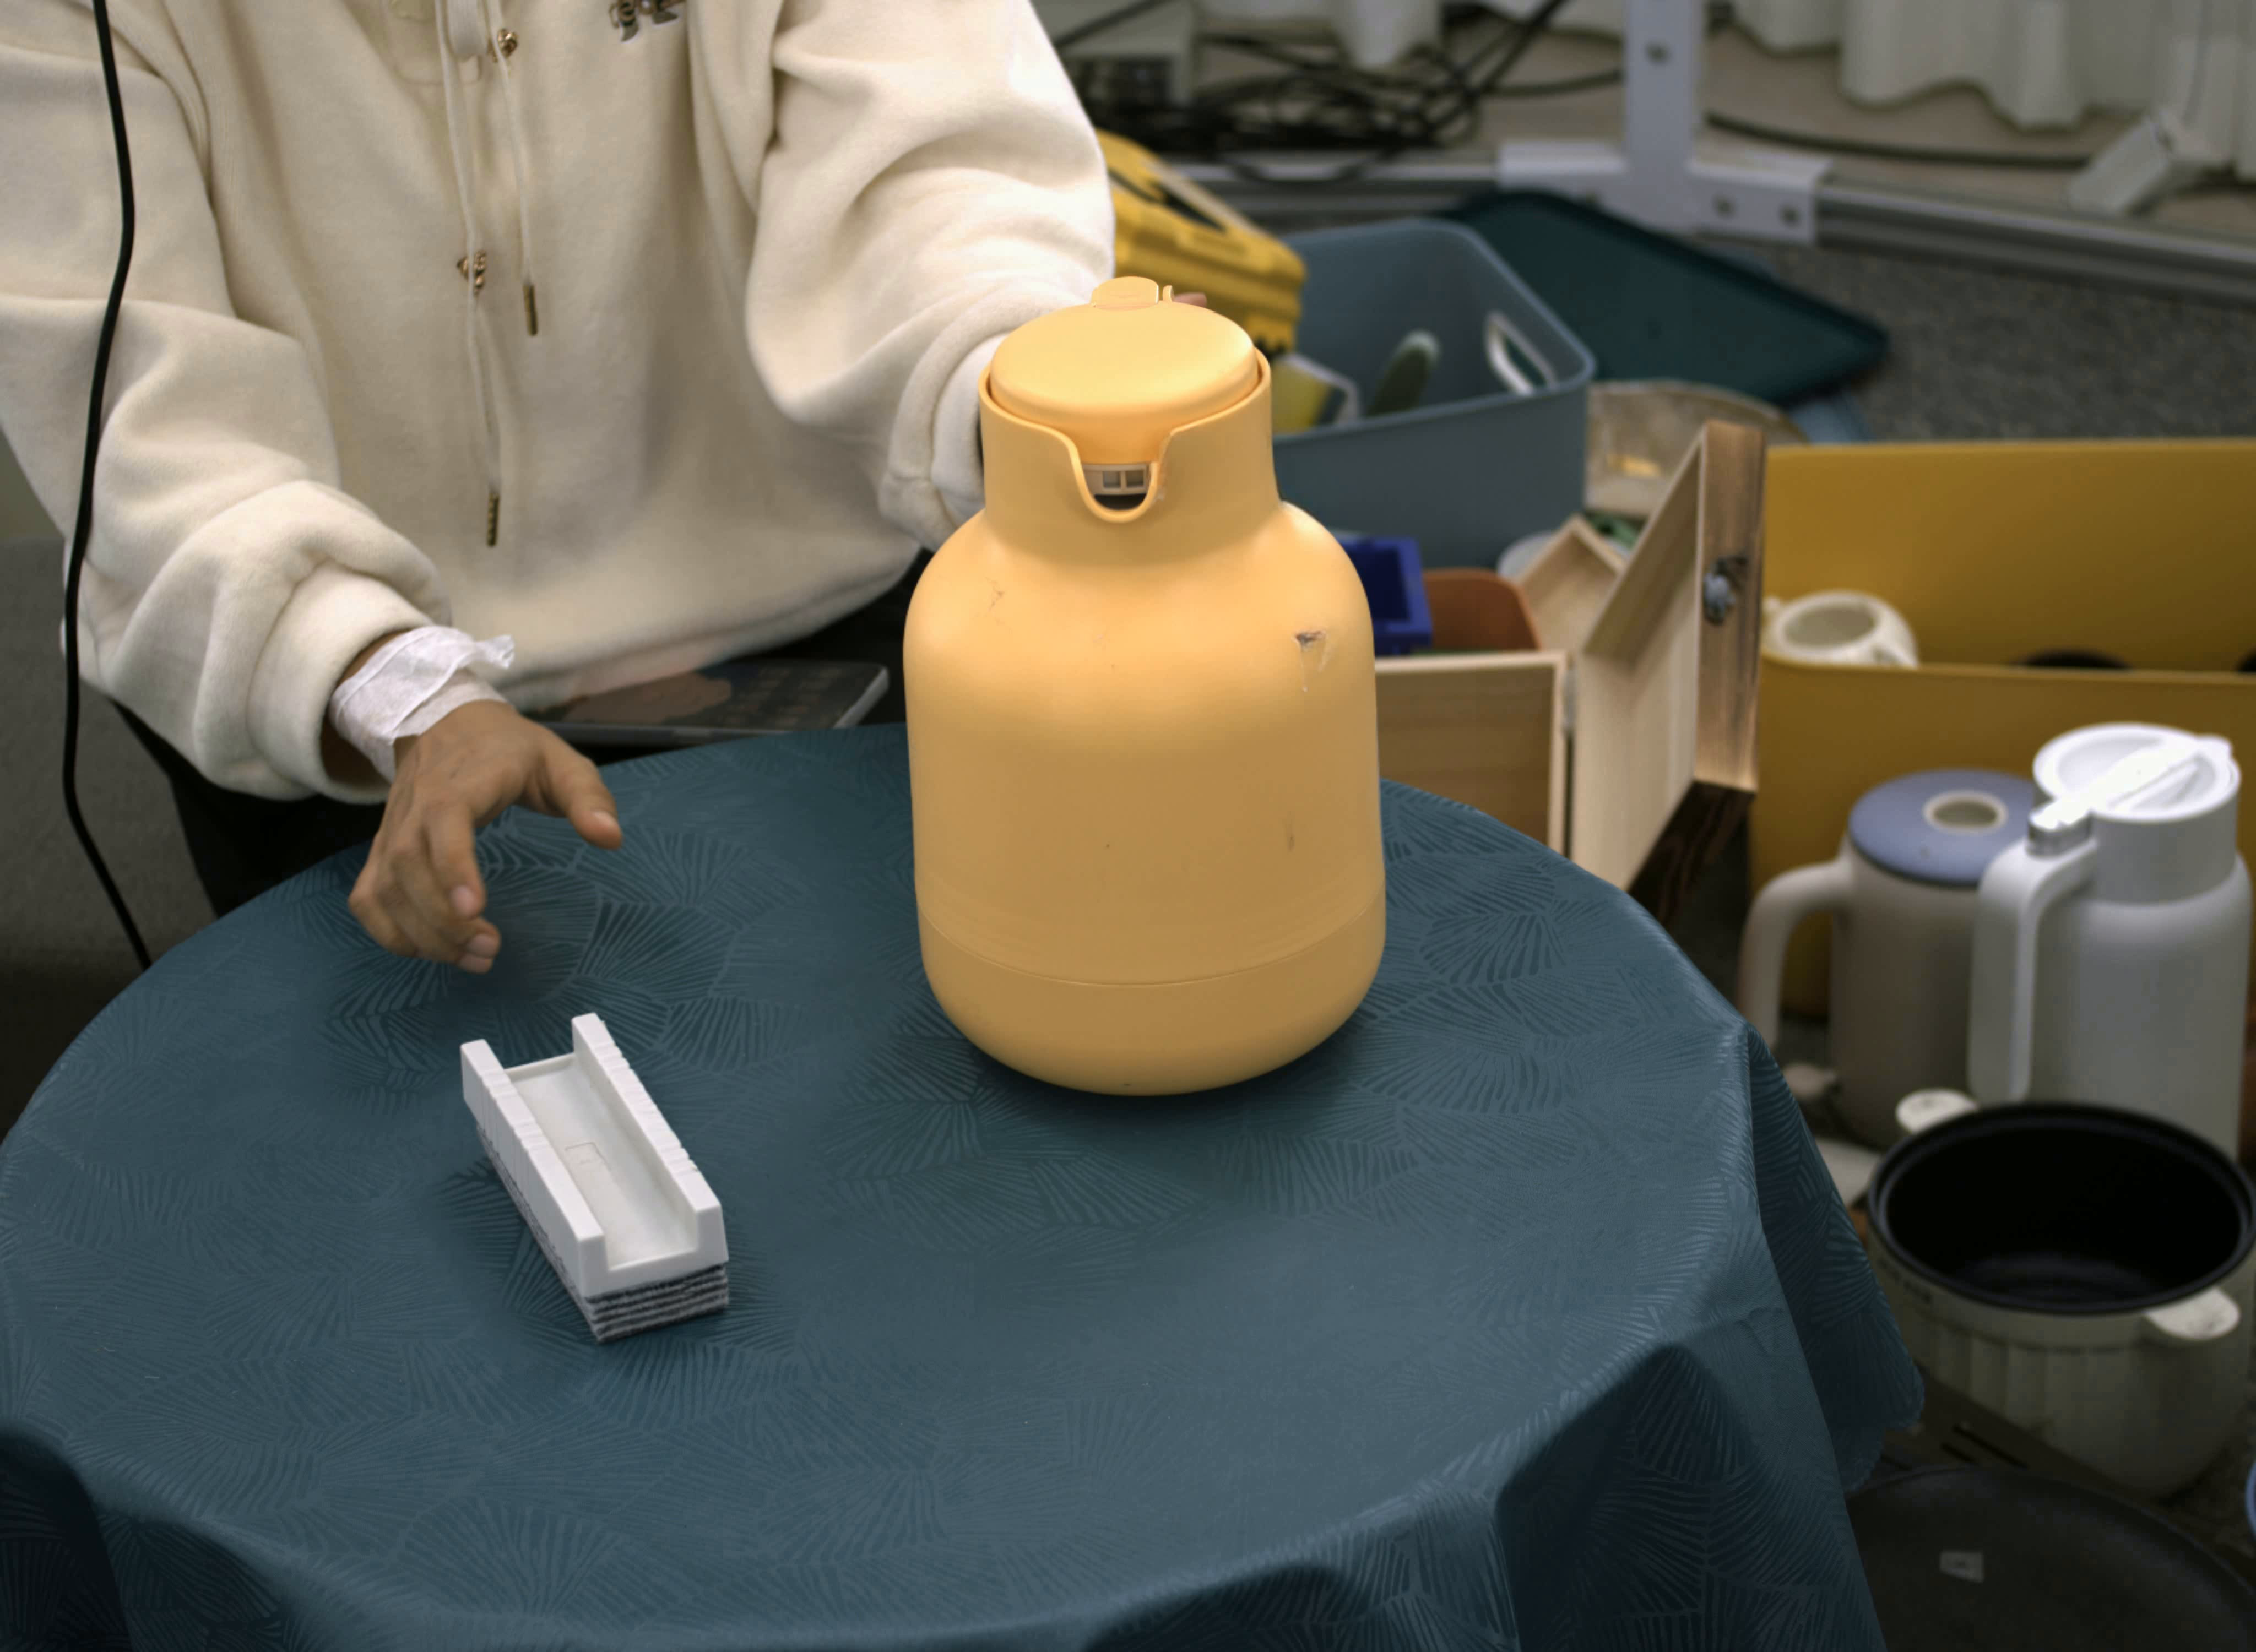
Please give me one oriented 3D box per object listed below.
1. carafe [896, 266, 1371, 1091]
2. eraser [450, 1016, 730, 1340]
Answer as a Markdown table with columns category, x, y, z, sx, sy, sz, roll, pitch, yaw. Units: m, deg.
| category | x | y | z | sx | sy | sz | roll | pitch | yaw |
| --- | --- | --- | --- | --- | --- | --- | --- | --- | --- |
| carafe | 0.004 | -0.060 | 1.926 | 0.162 | 0.257 | 0.206 | 2 | 28 | 3 |
| eraser | -0.177 | 0.115 | 1.842 | 0.050 | 0.046 | 0.135 | -17 | 31 | -19 |
